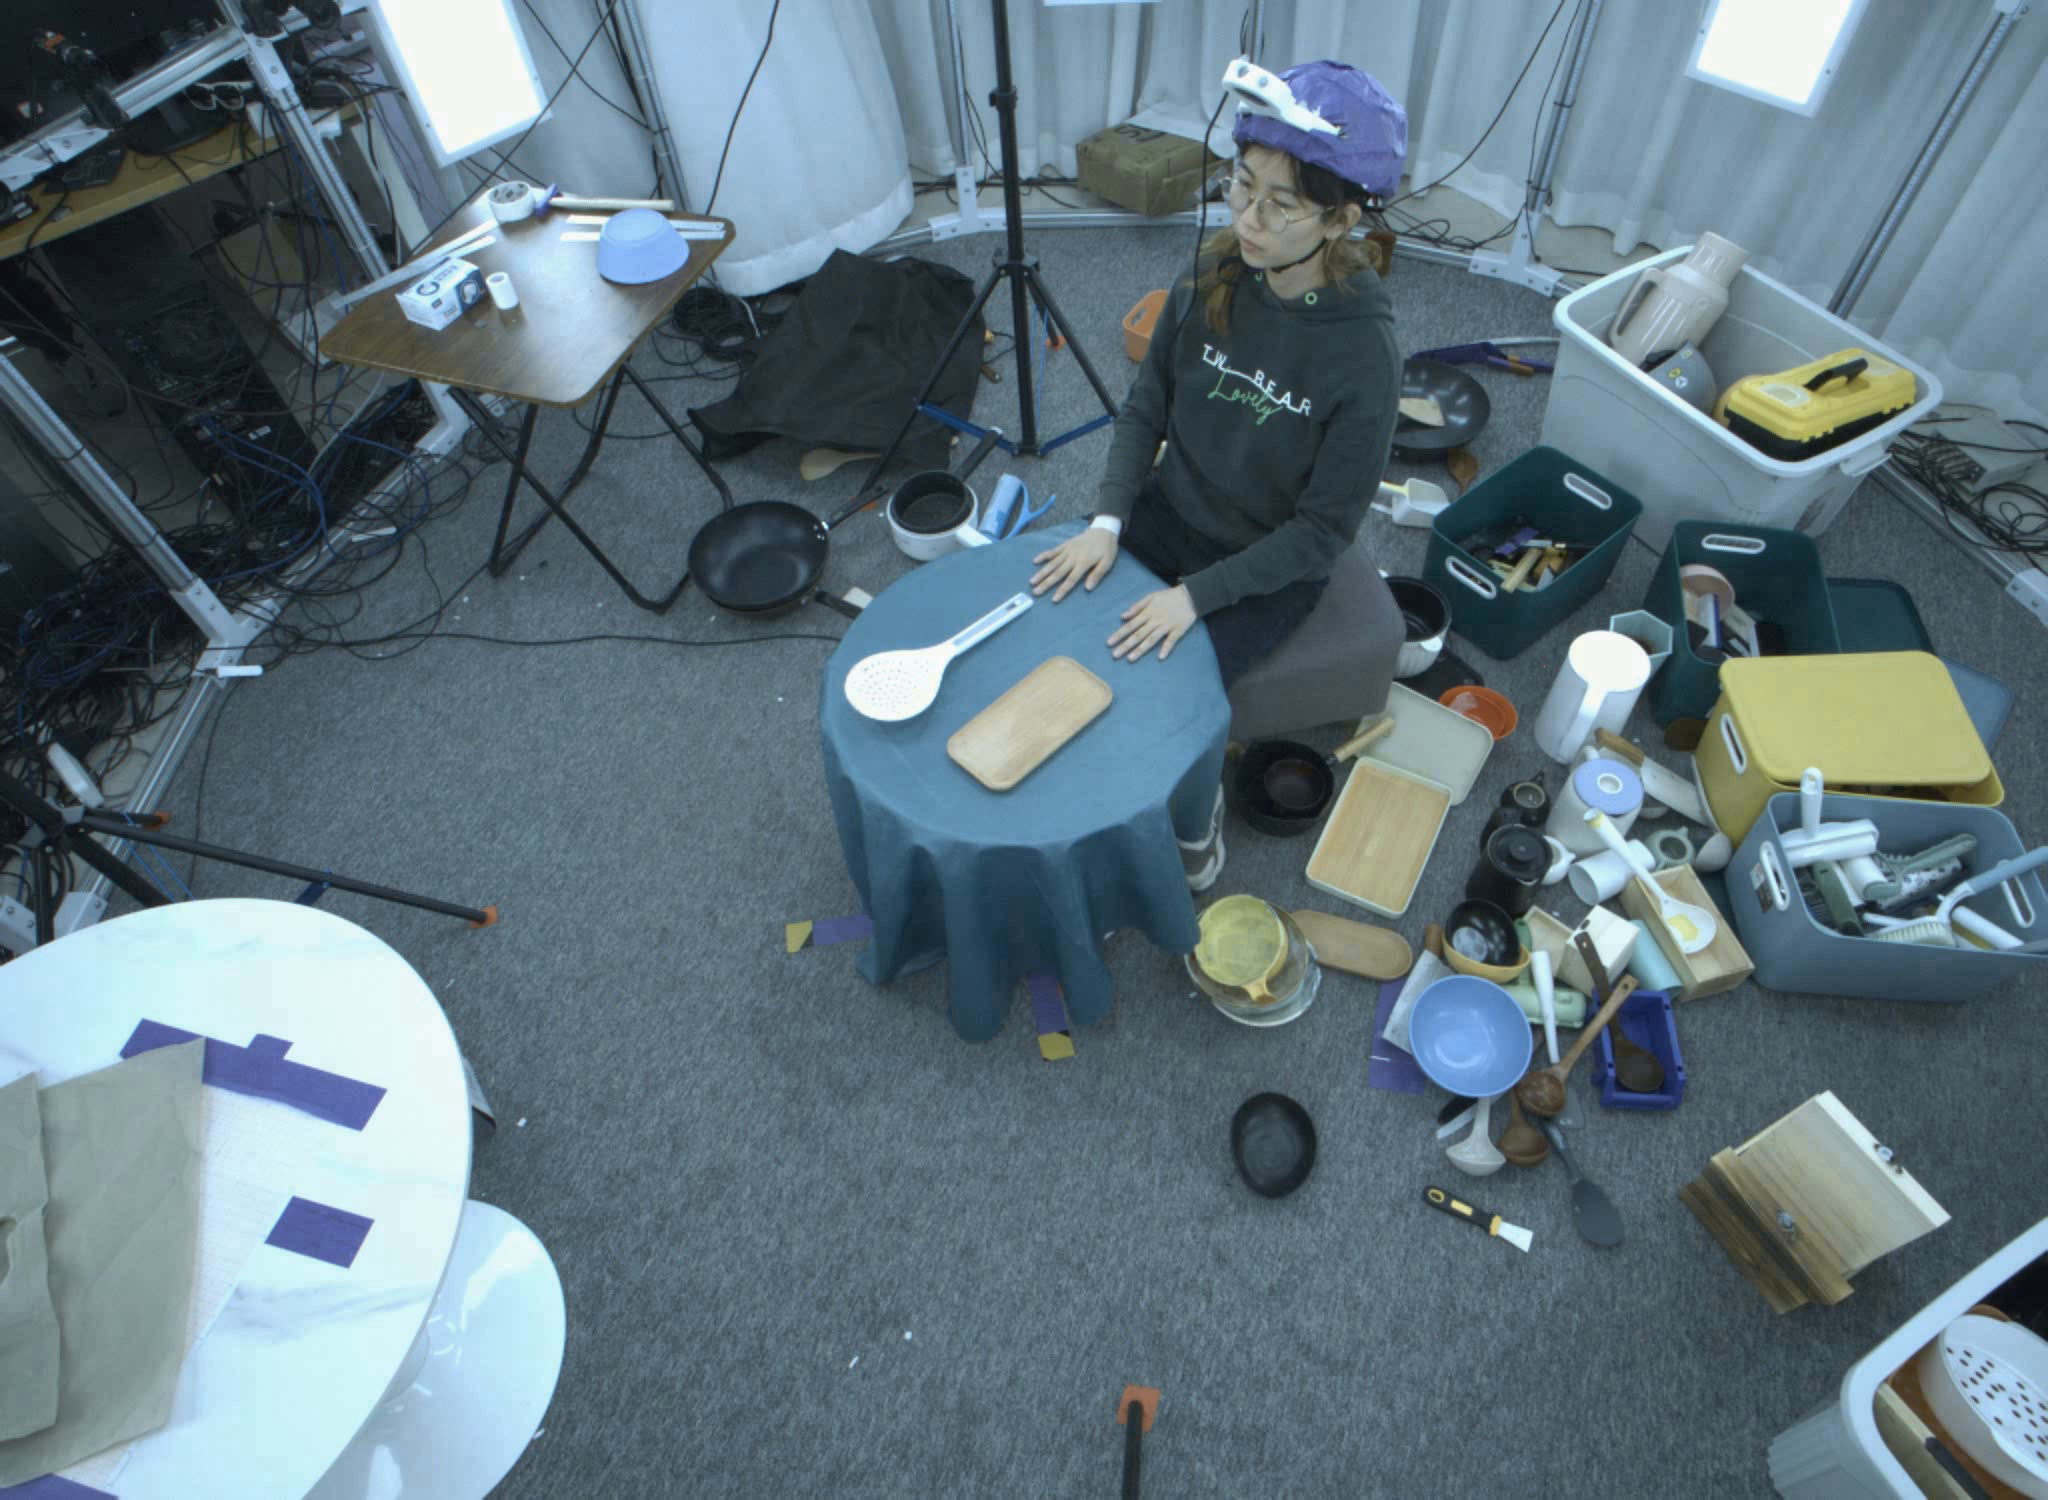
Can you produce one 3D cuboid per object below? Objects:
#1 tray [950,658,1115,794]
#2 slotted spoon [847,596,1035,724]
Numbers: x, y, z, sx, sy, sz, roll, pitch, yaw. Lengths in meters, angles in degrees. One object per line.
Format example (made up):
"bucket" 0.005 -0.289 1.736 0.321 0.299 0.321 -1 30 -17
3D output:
"tray" 0.014 -0.037 1.813 0.252 0.023 0.128 -39 64 -24
"slotted spoon" -0.118 -0.145 1.875 0.352 0.046 0.134 -39 65 -23
